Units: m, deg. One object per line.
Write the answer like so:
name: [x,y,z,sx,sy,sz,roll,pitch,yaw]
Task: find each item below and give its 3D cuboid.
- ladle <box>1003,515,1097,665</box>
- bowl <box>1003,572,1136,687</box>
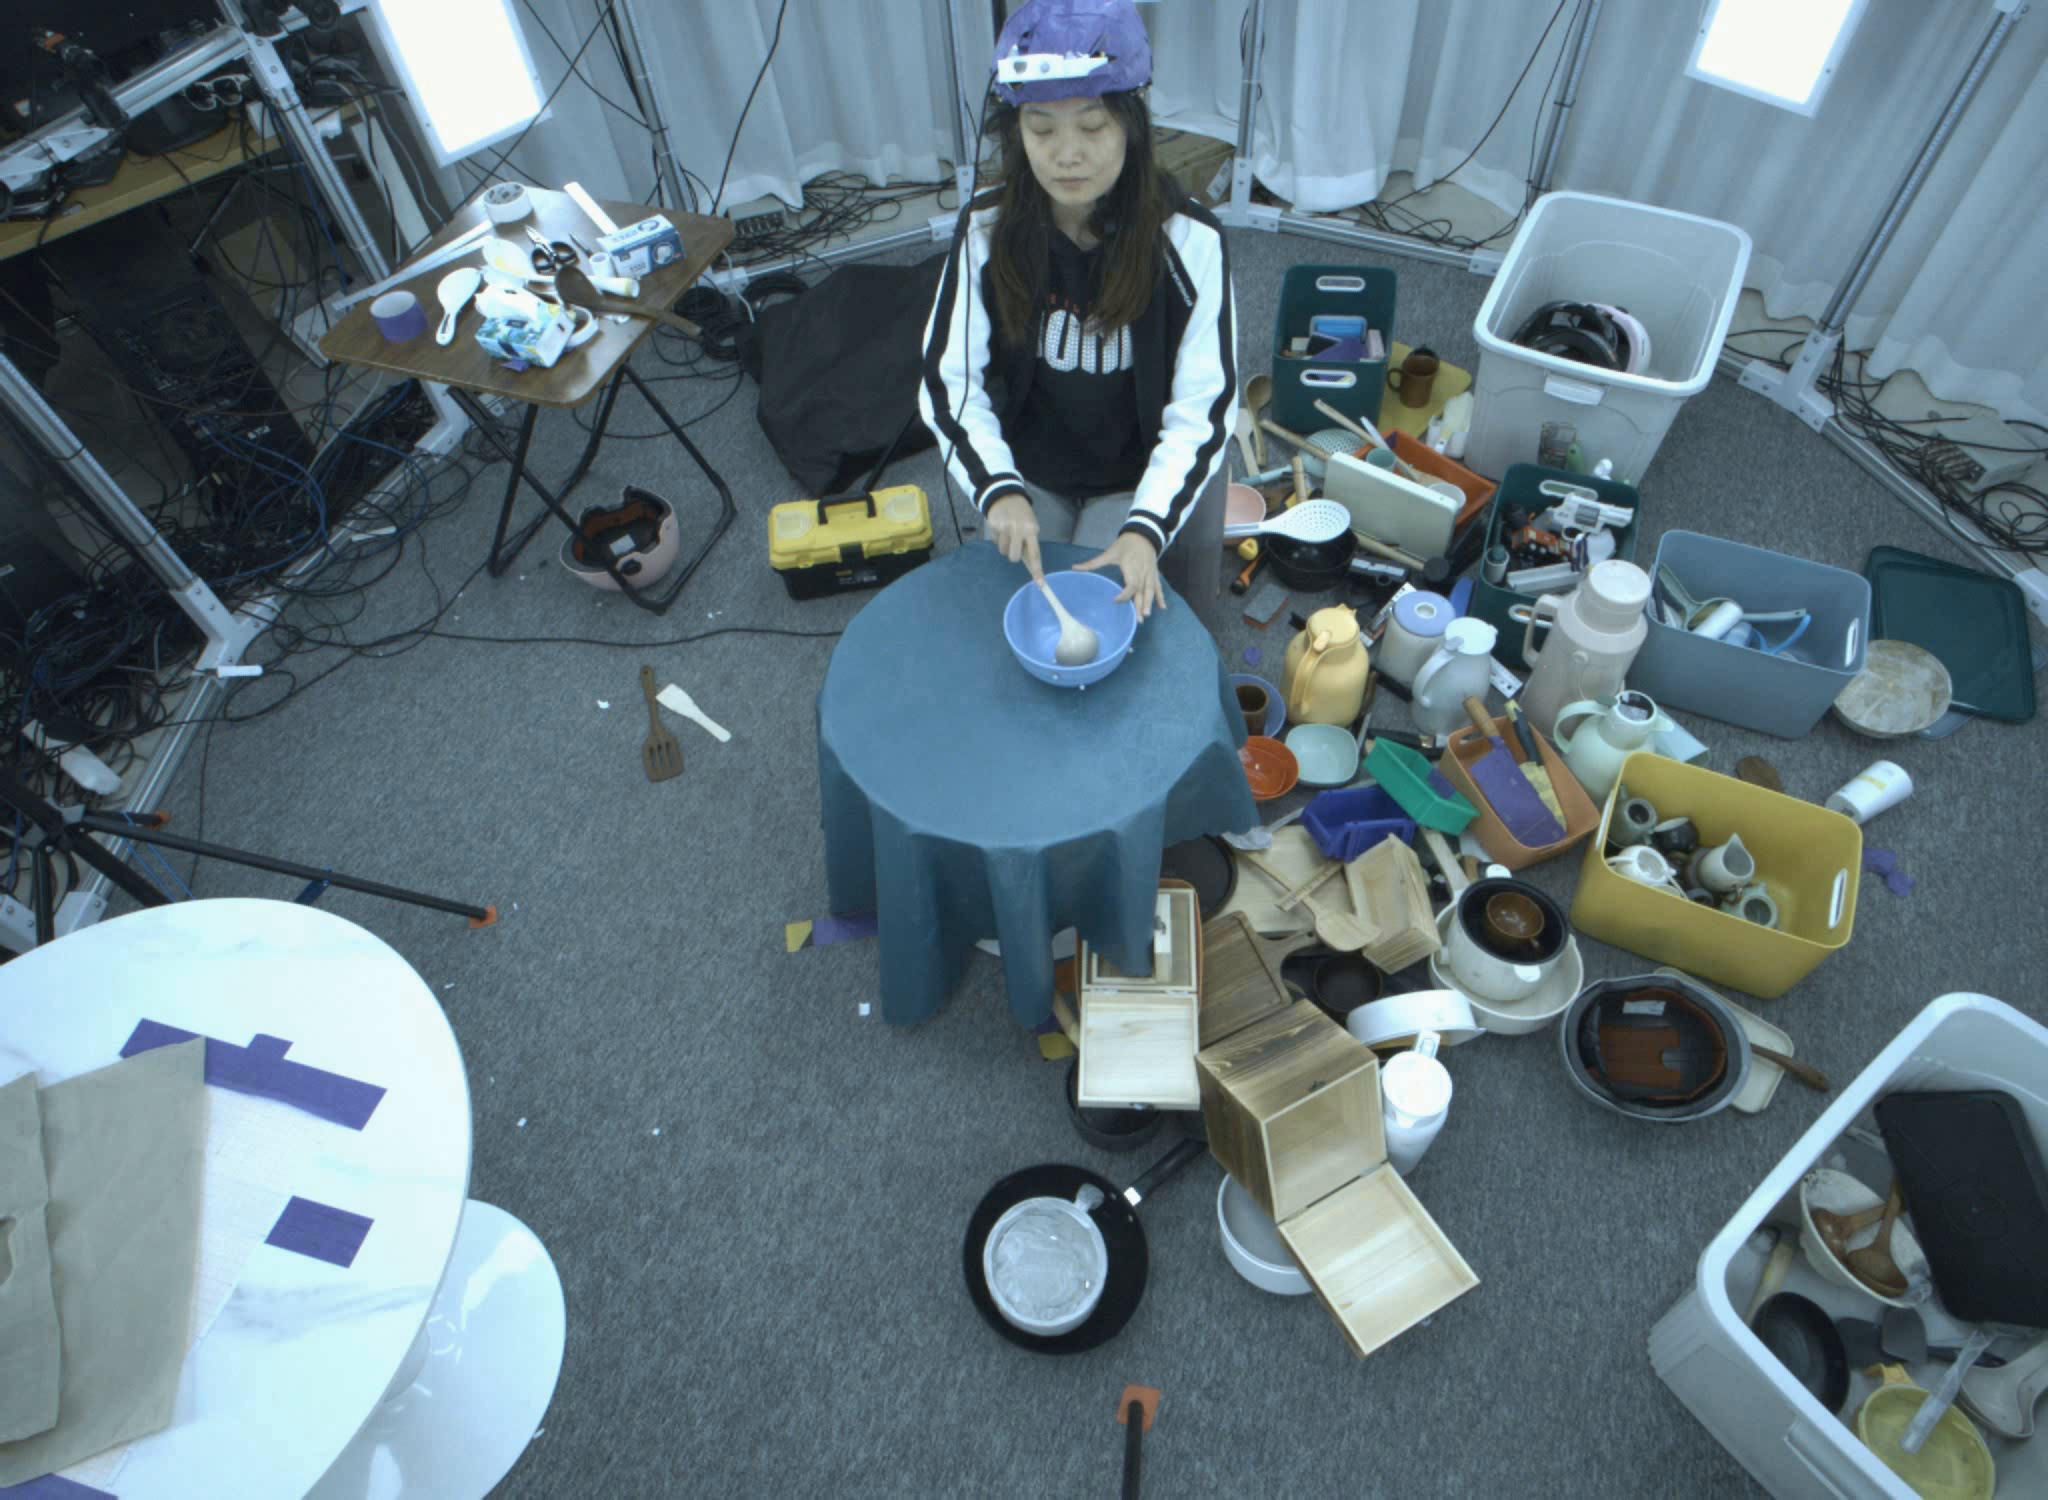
ladle: [0.029,-0.235,1.851,0.072,0.073,0.252,-26,78,-10]
bowl: [0.071,-0.165,1.847,0.196,0.096,0.194,-2,54,3]
